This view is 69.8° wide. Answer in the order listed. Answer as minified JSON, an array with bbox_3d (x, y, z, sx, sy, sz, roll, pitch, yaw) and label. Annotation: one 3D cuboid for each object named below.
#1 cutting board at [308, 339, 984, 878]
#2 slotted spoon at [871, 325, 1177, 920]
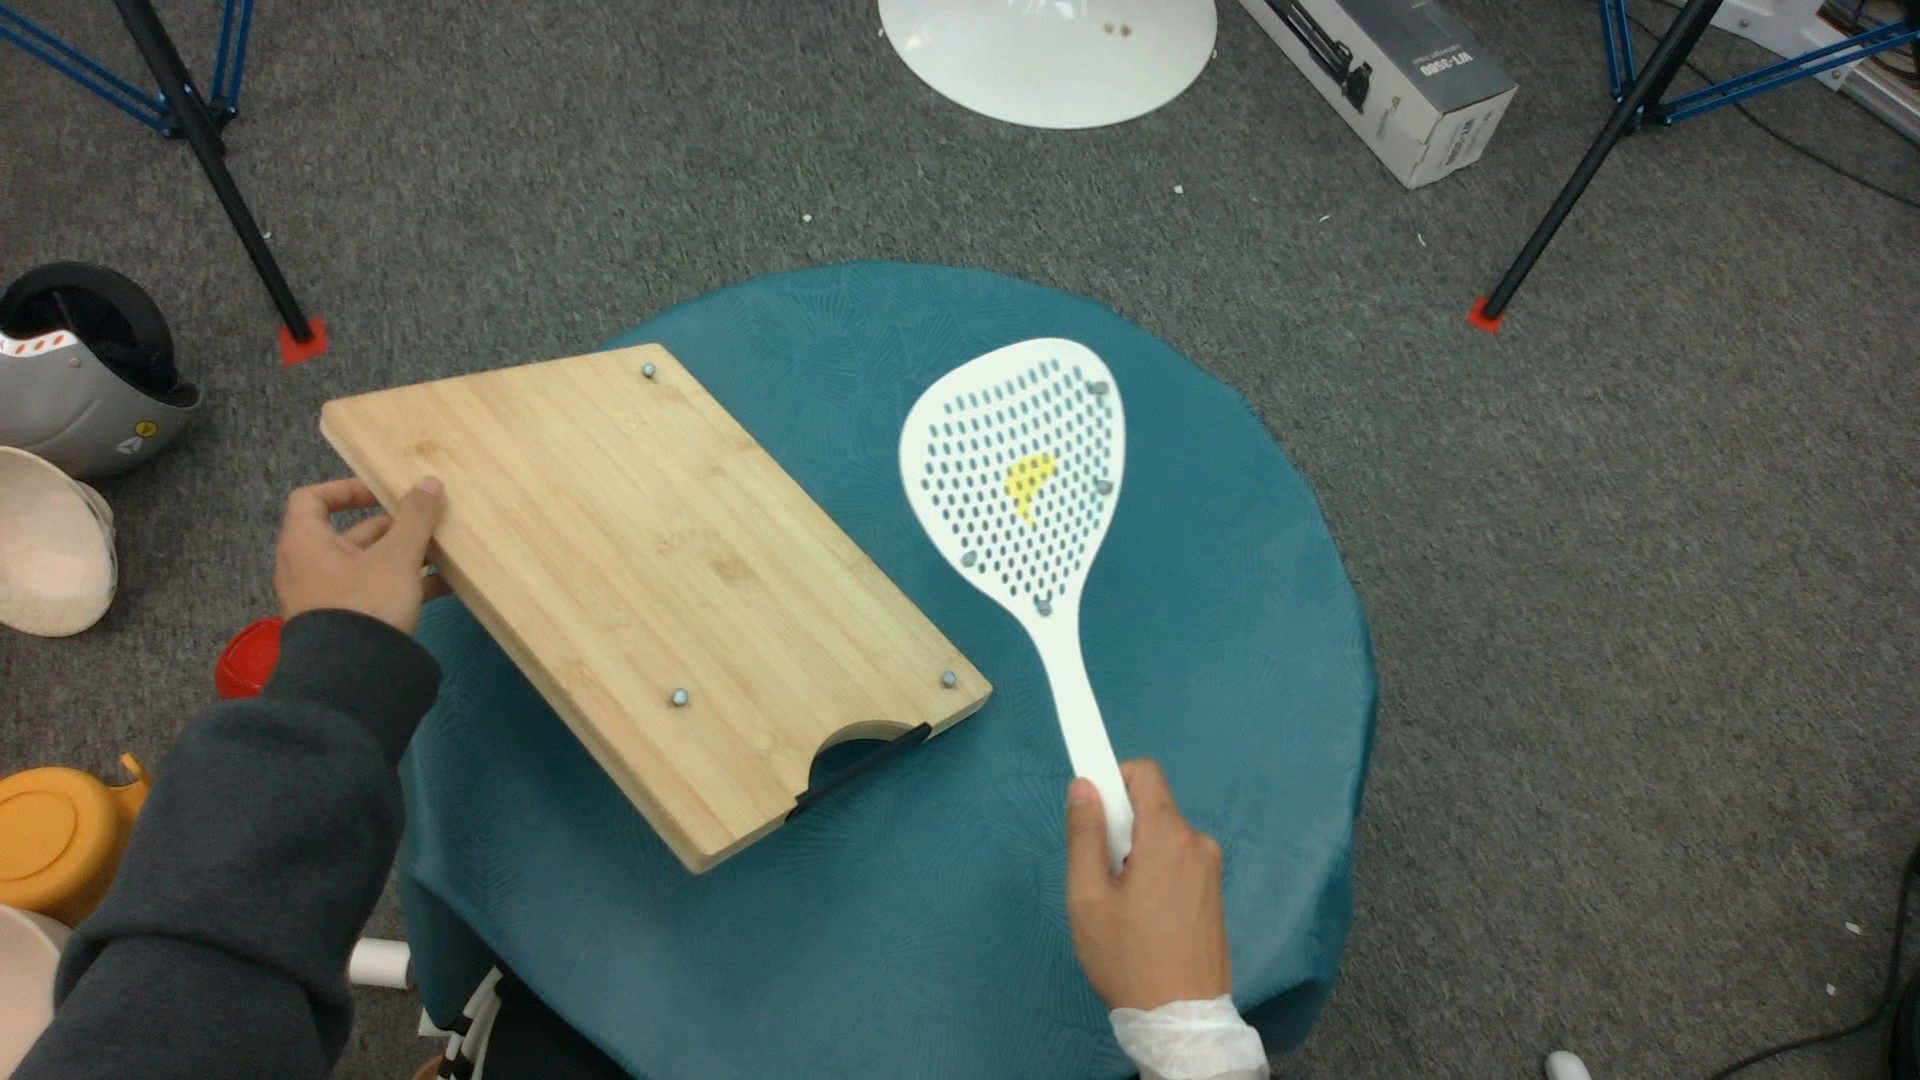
[{"bbox_3d":[-0.173,0.011,0.799,0.349,0.023,0.252,44,36,16],"label":"cutting board"},{"bbox_3d":[0.046,0.035,0.748,0.136,0.050,0.349,-22,58,10],"label":"slotted spoon"}]
